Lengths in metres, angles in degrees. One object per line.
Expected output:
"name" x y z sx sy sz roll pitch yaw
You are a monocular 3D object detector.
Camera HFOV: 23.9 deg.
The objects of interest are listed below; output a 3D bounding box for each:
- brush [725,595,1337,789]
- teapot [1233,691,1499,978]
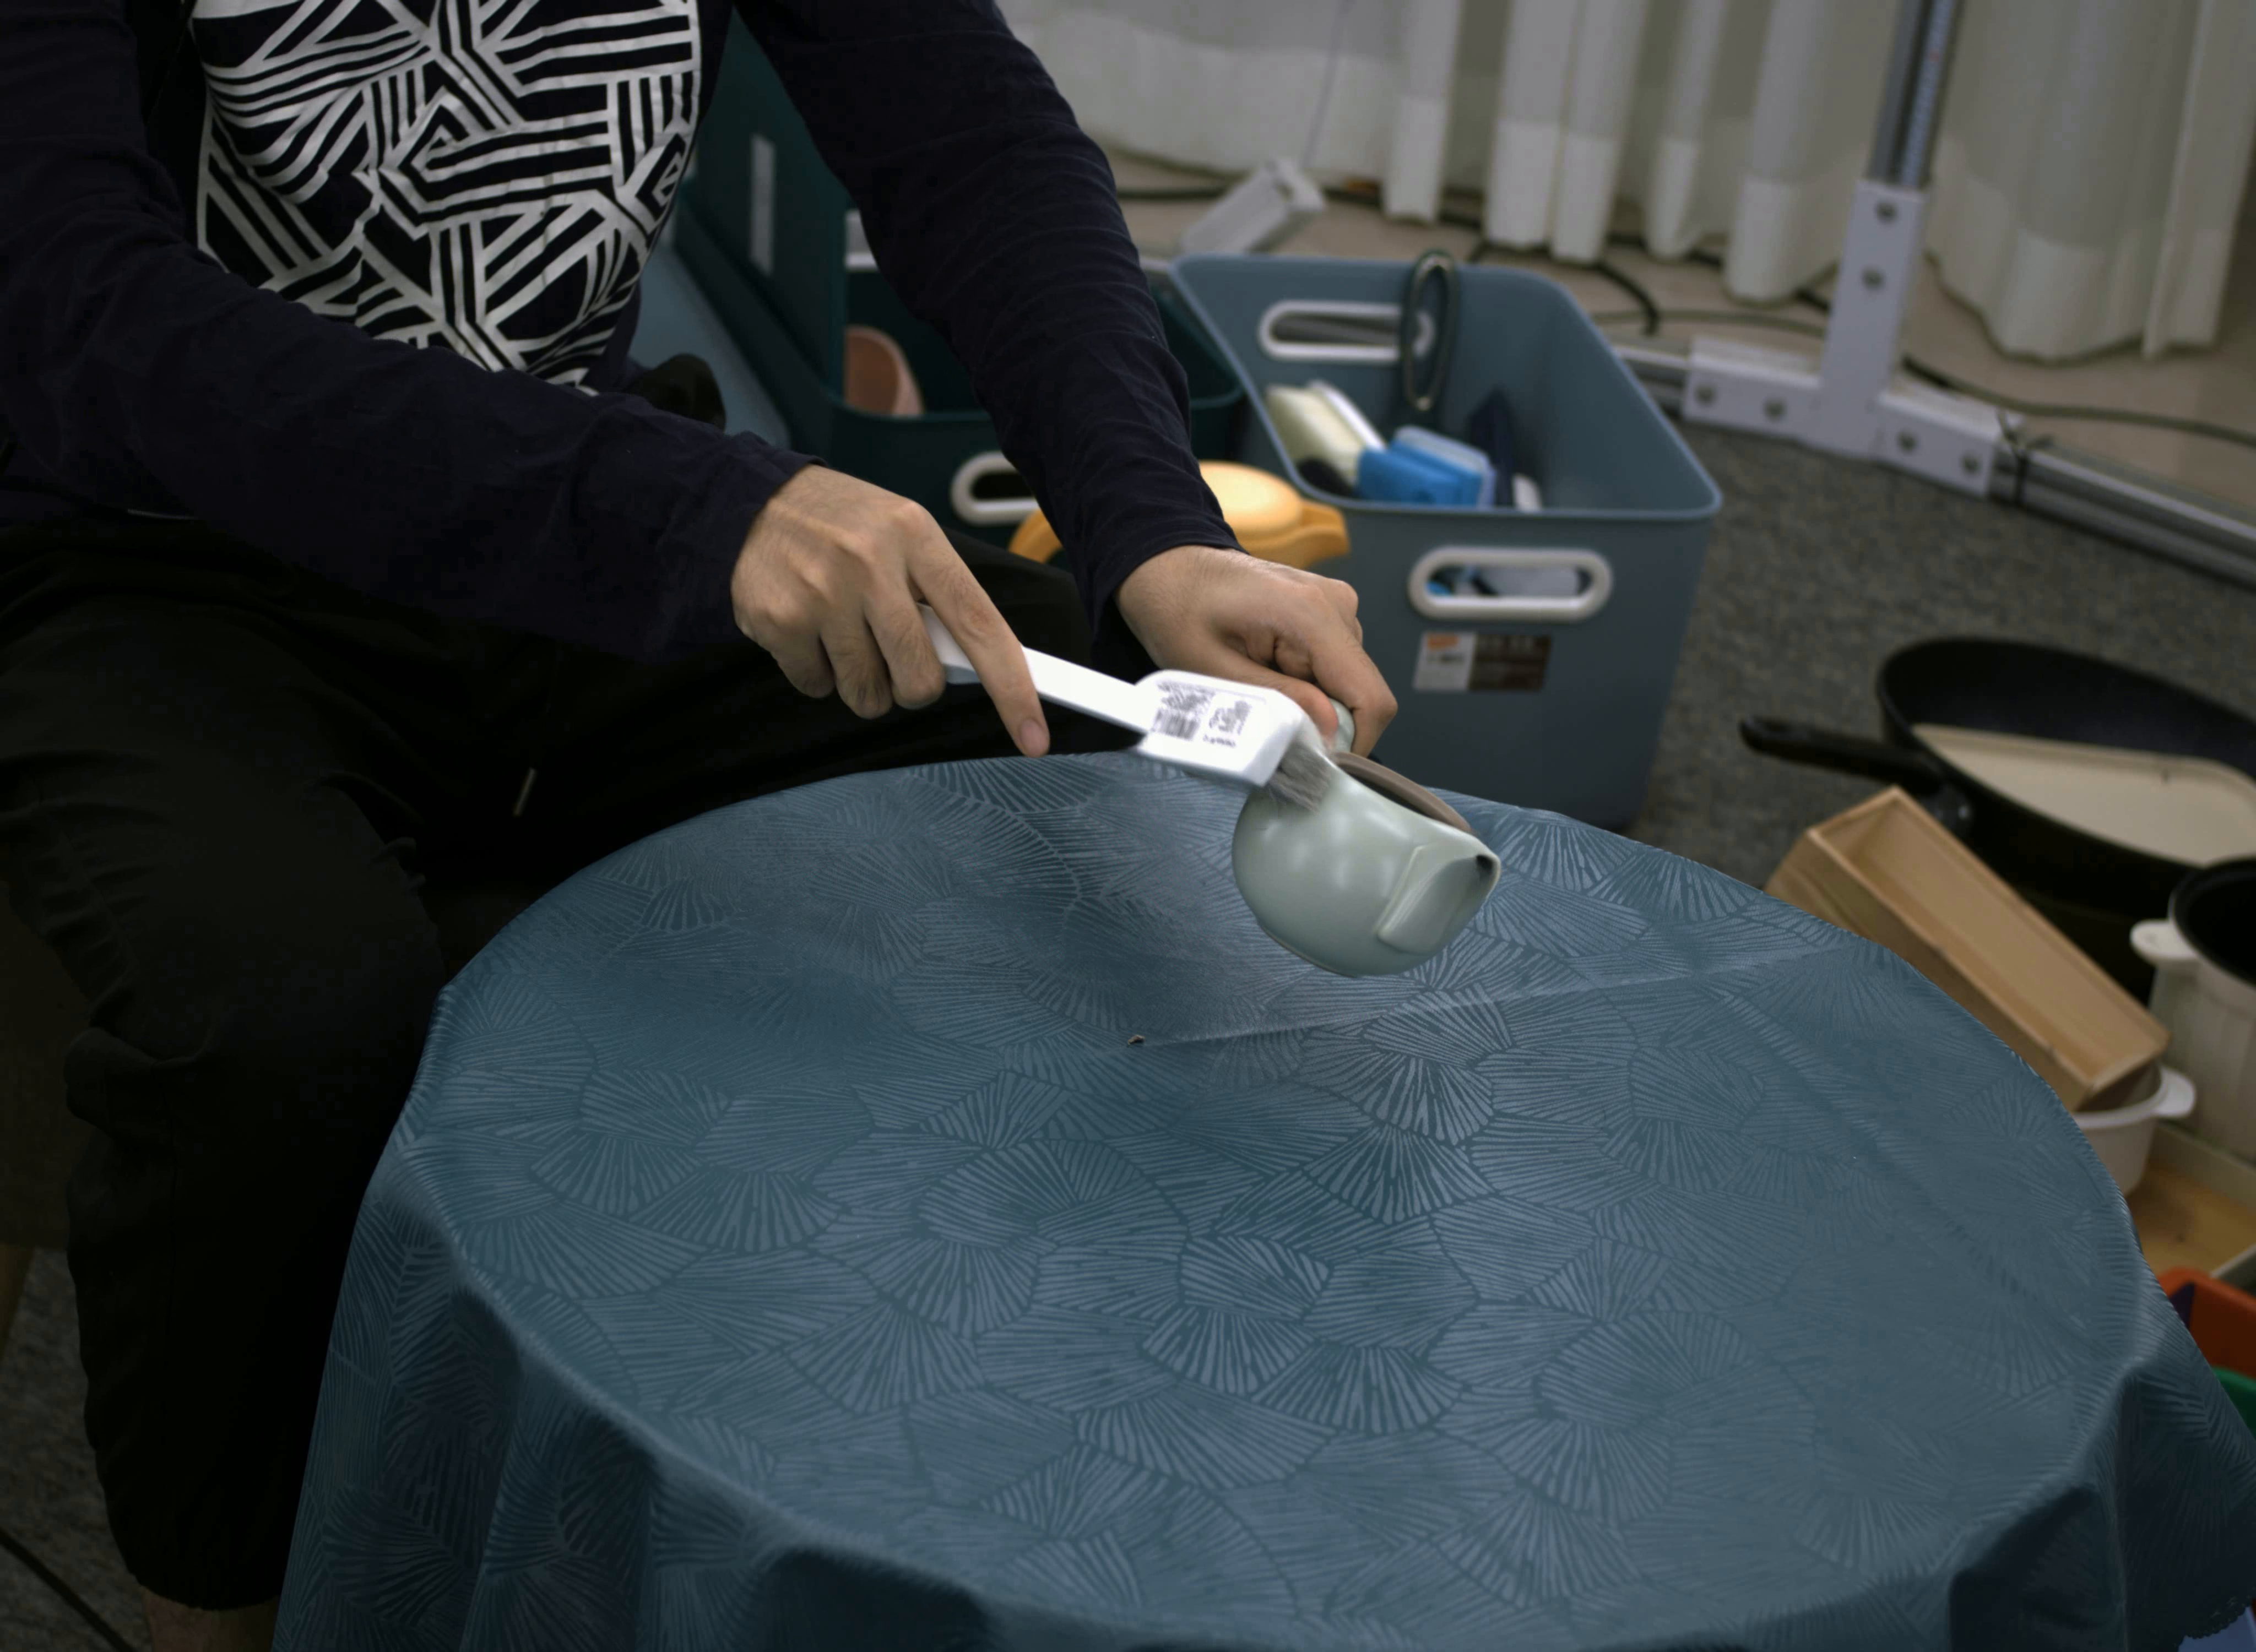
"brush" -0.036 -0.049 1.897 0.245 0.034 0.050 12 -8 31
"teapot" 0.081 0.012 1.876 0.087 0.075 0.145 19 17 -31
